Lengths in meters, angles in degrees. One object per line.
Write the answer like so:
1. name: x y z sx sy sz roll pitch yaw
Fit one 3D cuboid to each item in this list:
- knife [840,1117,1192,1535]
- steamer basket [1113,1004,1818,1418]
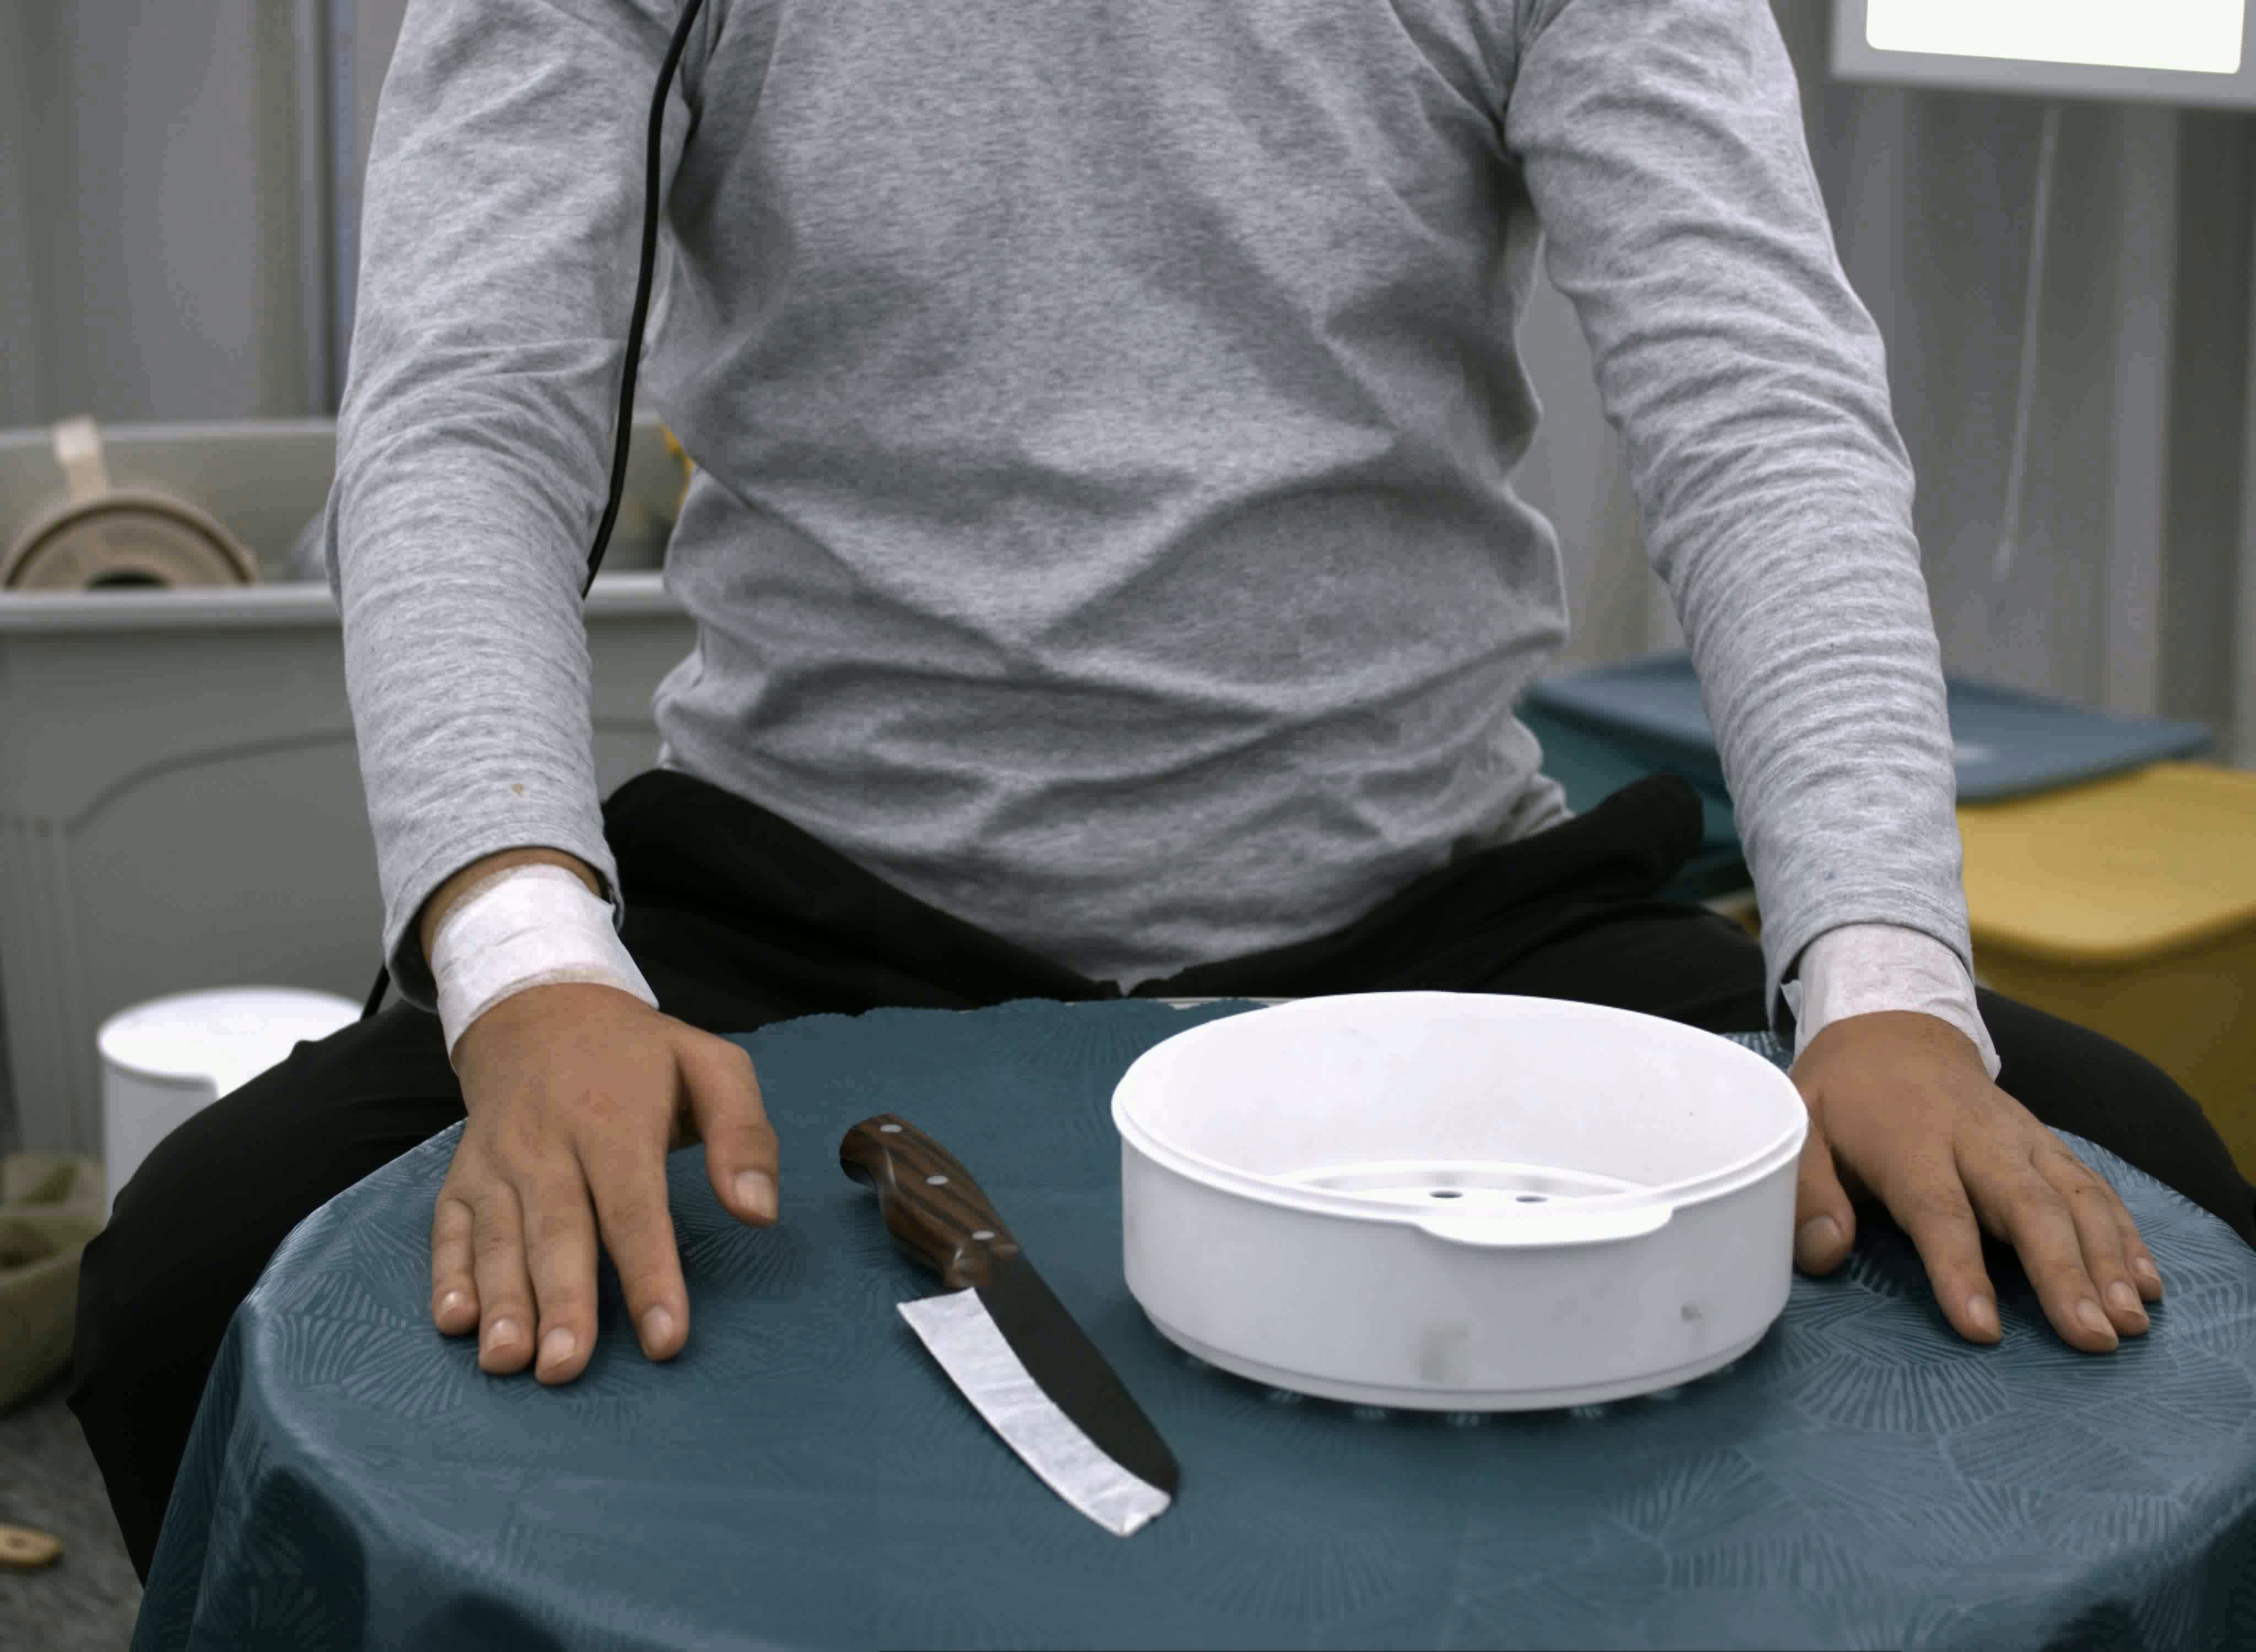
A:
1. knife: -0.037 0.140 1.493 0.050 0.020 0.286 -9 20 -14
2. steamer basket: 0.096 0.110 1.513 0.202 0.070 0.228 -2 15 -11
